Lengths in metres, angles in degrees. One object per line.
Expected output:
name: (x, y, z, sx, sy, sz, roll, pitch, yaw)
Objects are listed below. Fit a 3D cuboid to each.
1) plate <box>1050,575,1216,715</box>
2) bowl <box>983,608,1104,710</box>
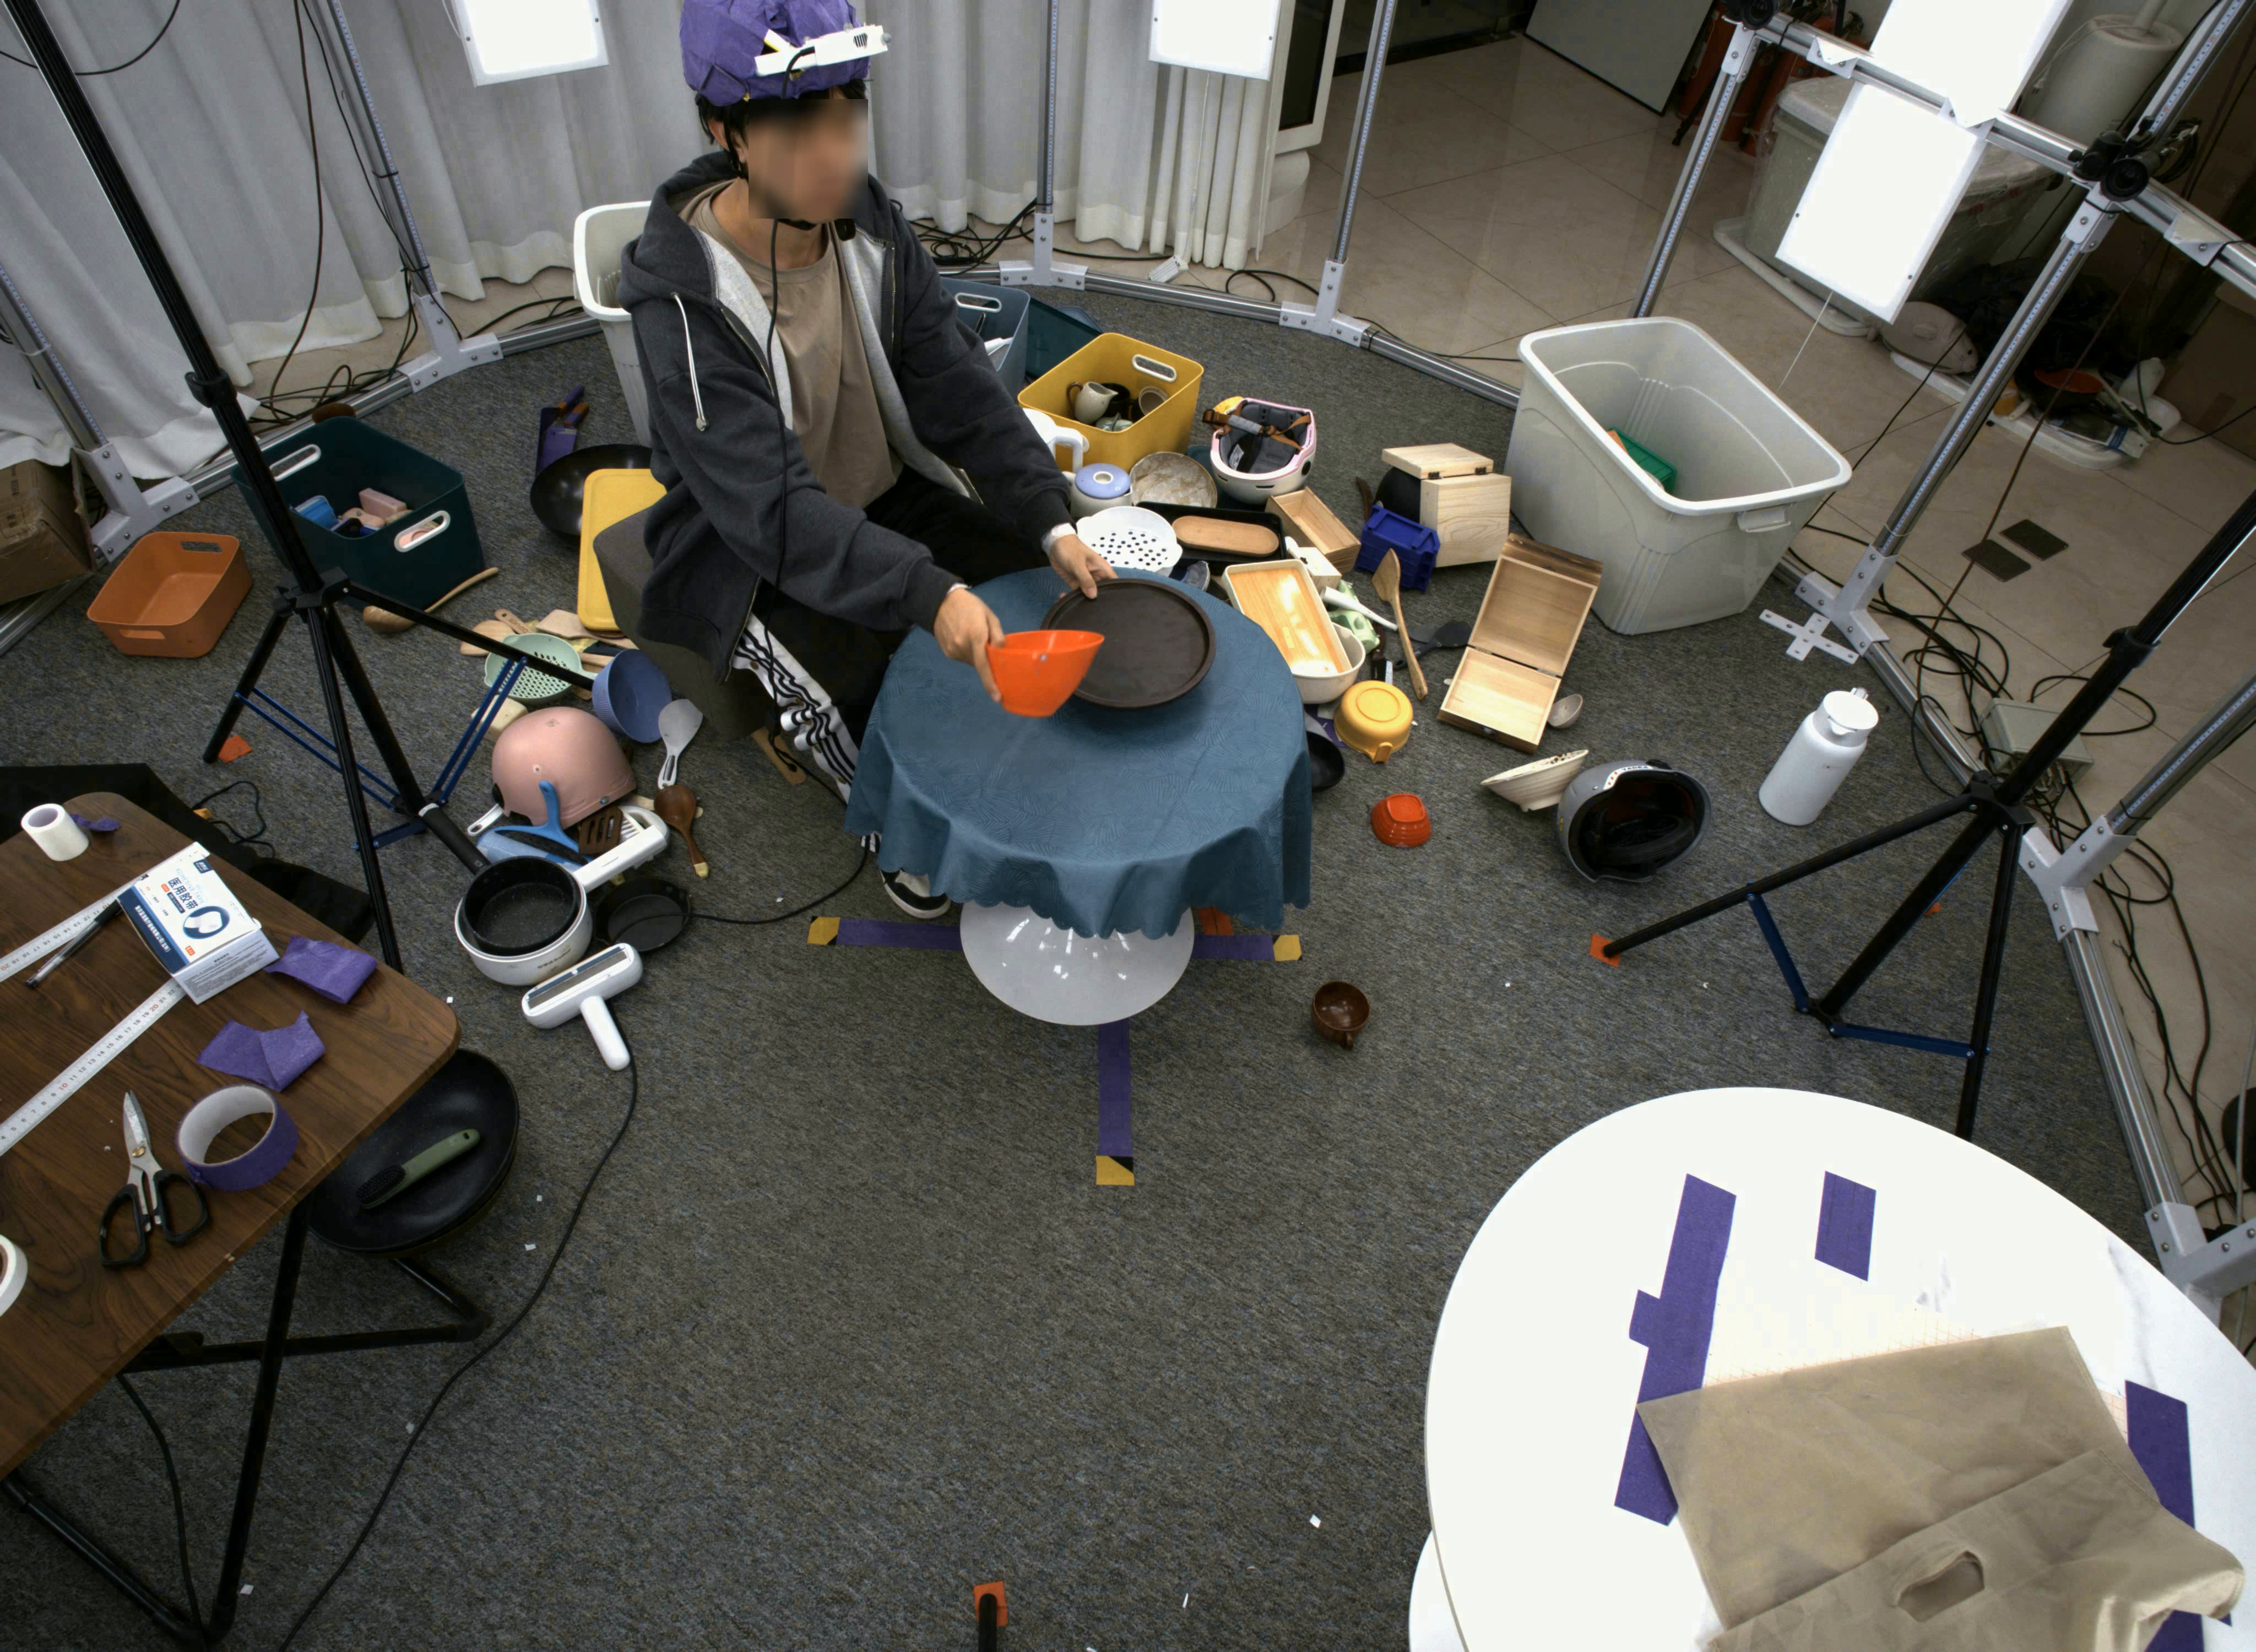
plate: (-0.001, -0.256, 1.824, 0.254, 0.028, 0.261, 0, 54, 0)
bowl: (-0.112, -0.205, 1.616, 0.148, 0.102, 0.151, 8, 35, -6)
